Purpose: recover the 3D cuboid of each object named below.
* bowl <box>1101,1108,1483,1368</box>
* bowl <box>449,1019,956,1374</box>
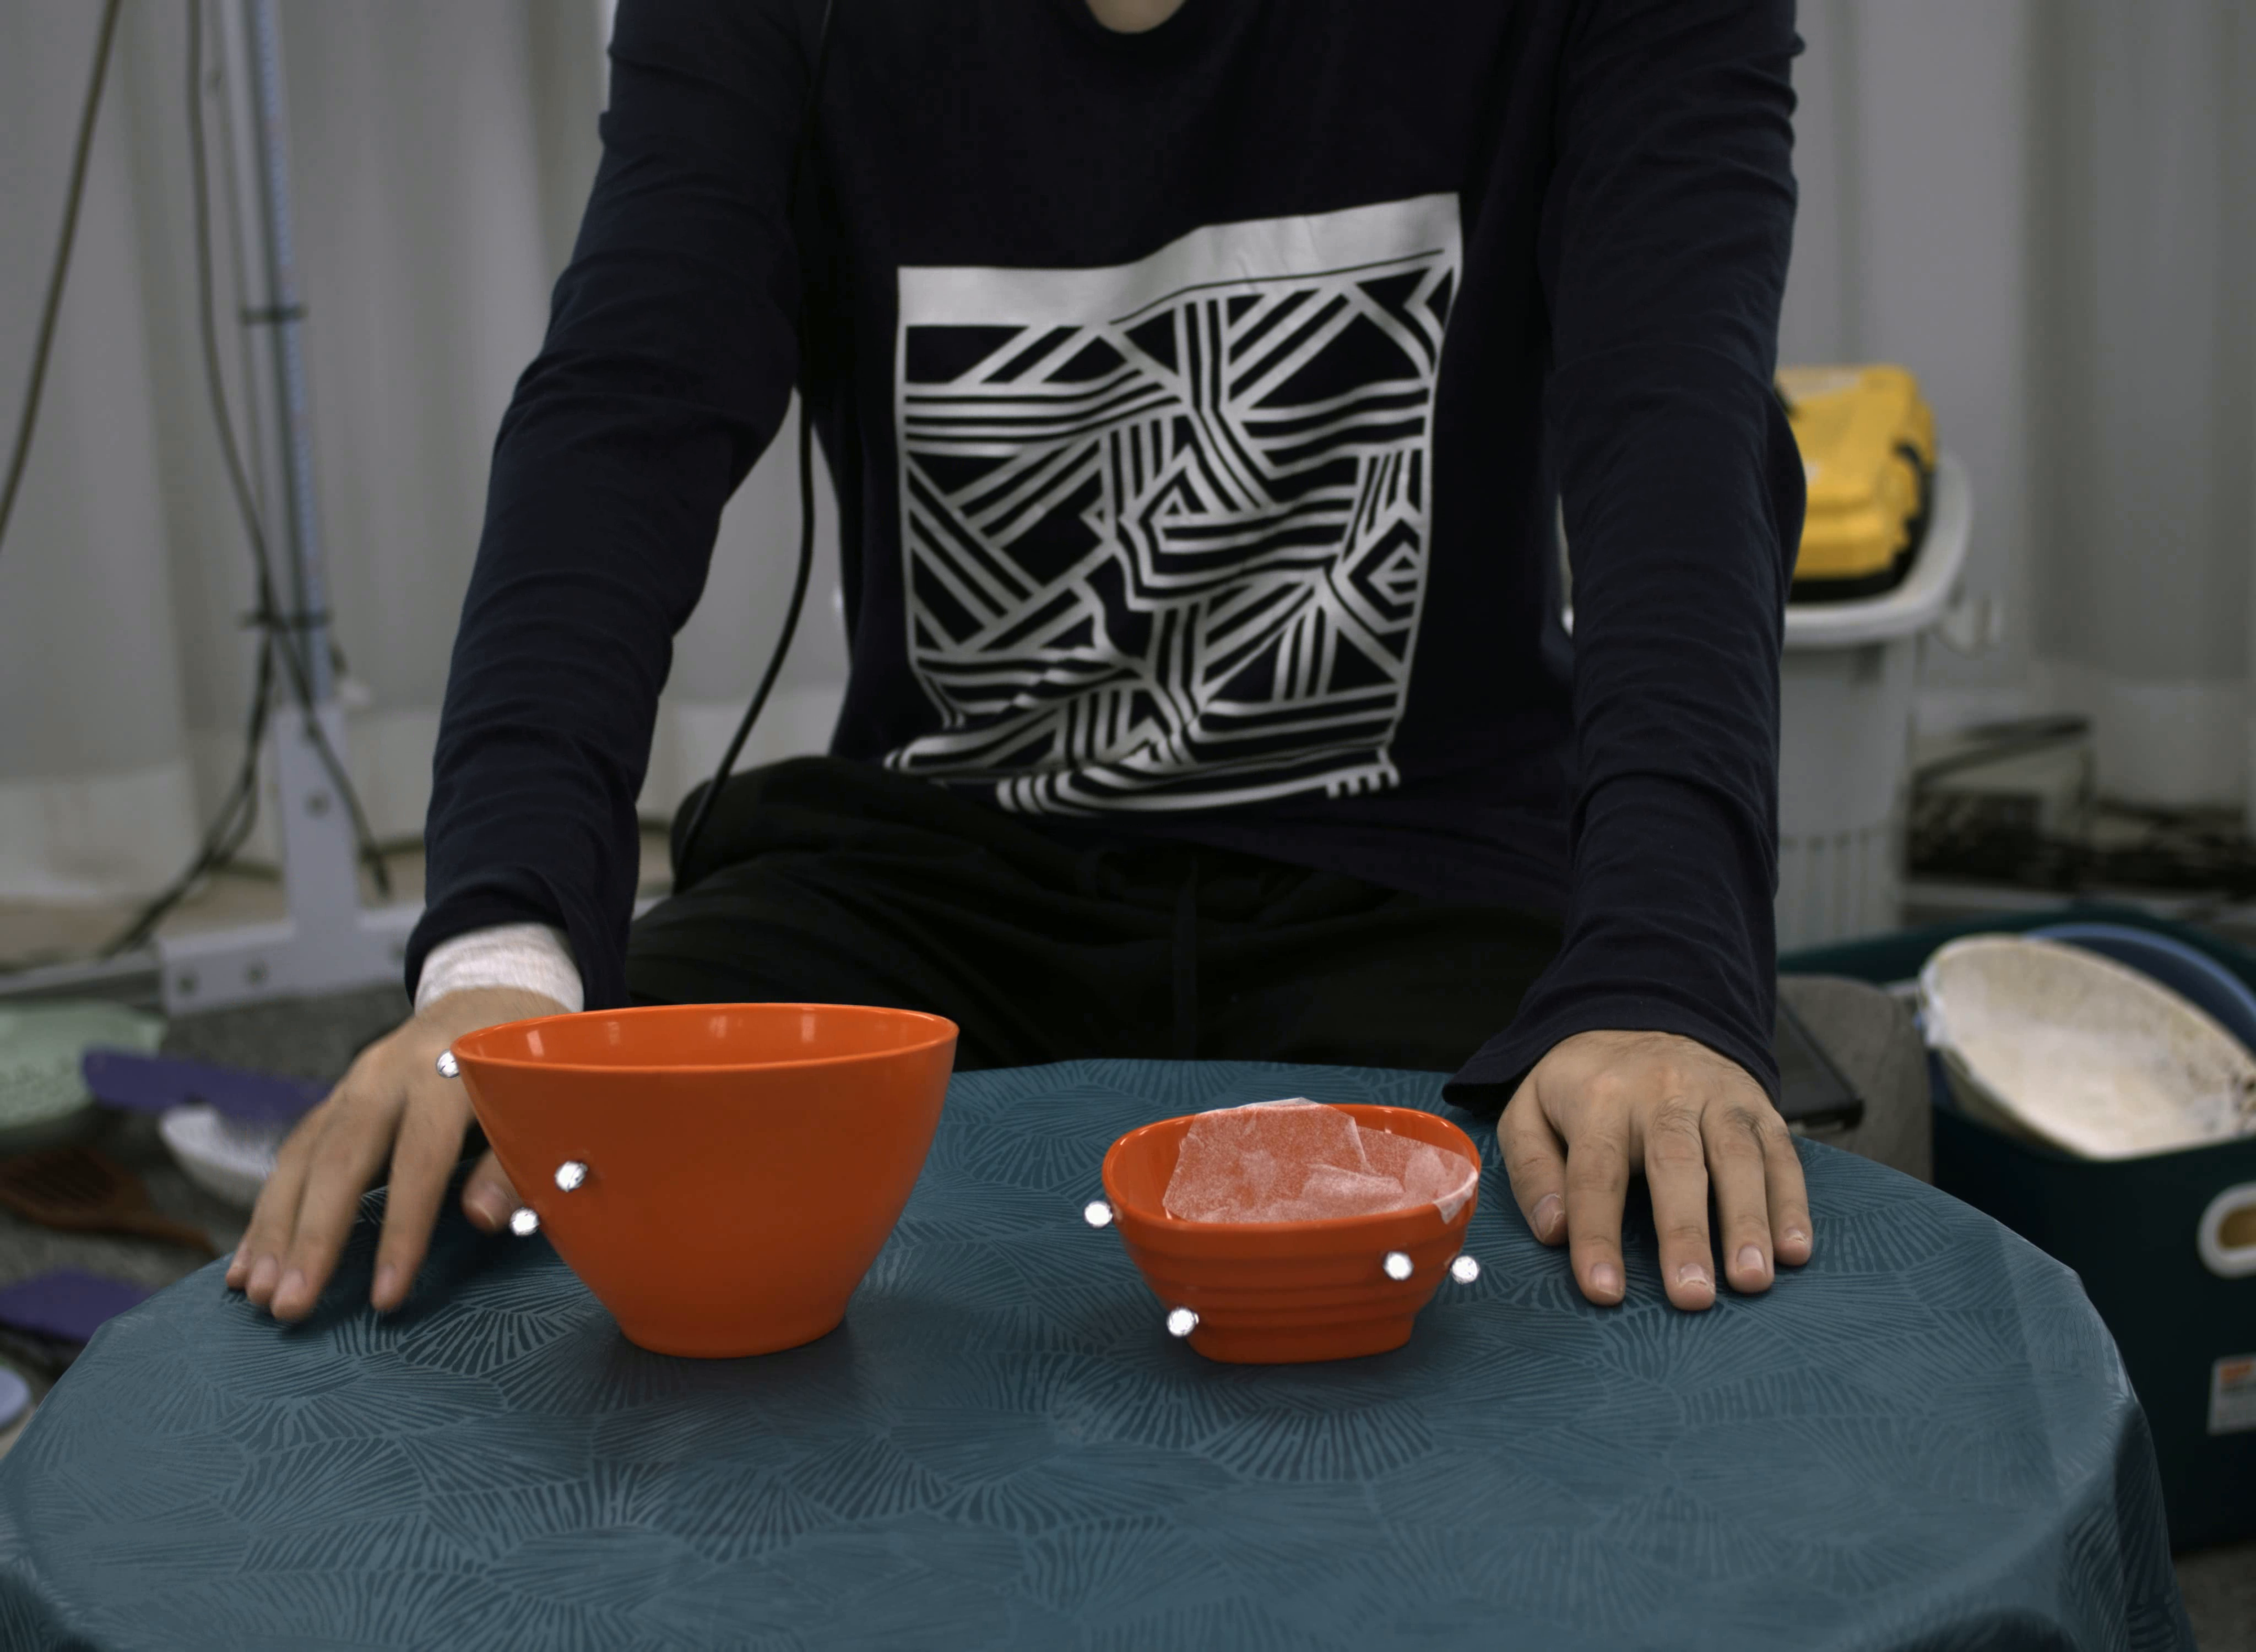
[{"bbox_3d":[0.049,0.122,1.588,0.118,0.051,0.119,-4,13,1],"label":"bowl"},{"bbox_3d":[-0.122,0.104,1.596,0.147,0.104,0.149,-2,12,0],"label":"bowl"}]
